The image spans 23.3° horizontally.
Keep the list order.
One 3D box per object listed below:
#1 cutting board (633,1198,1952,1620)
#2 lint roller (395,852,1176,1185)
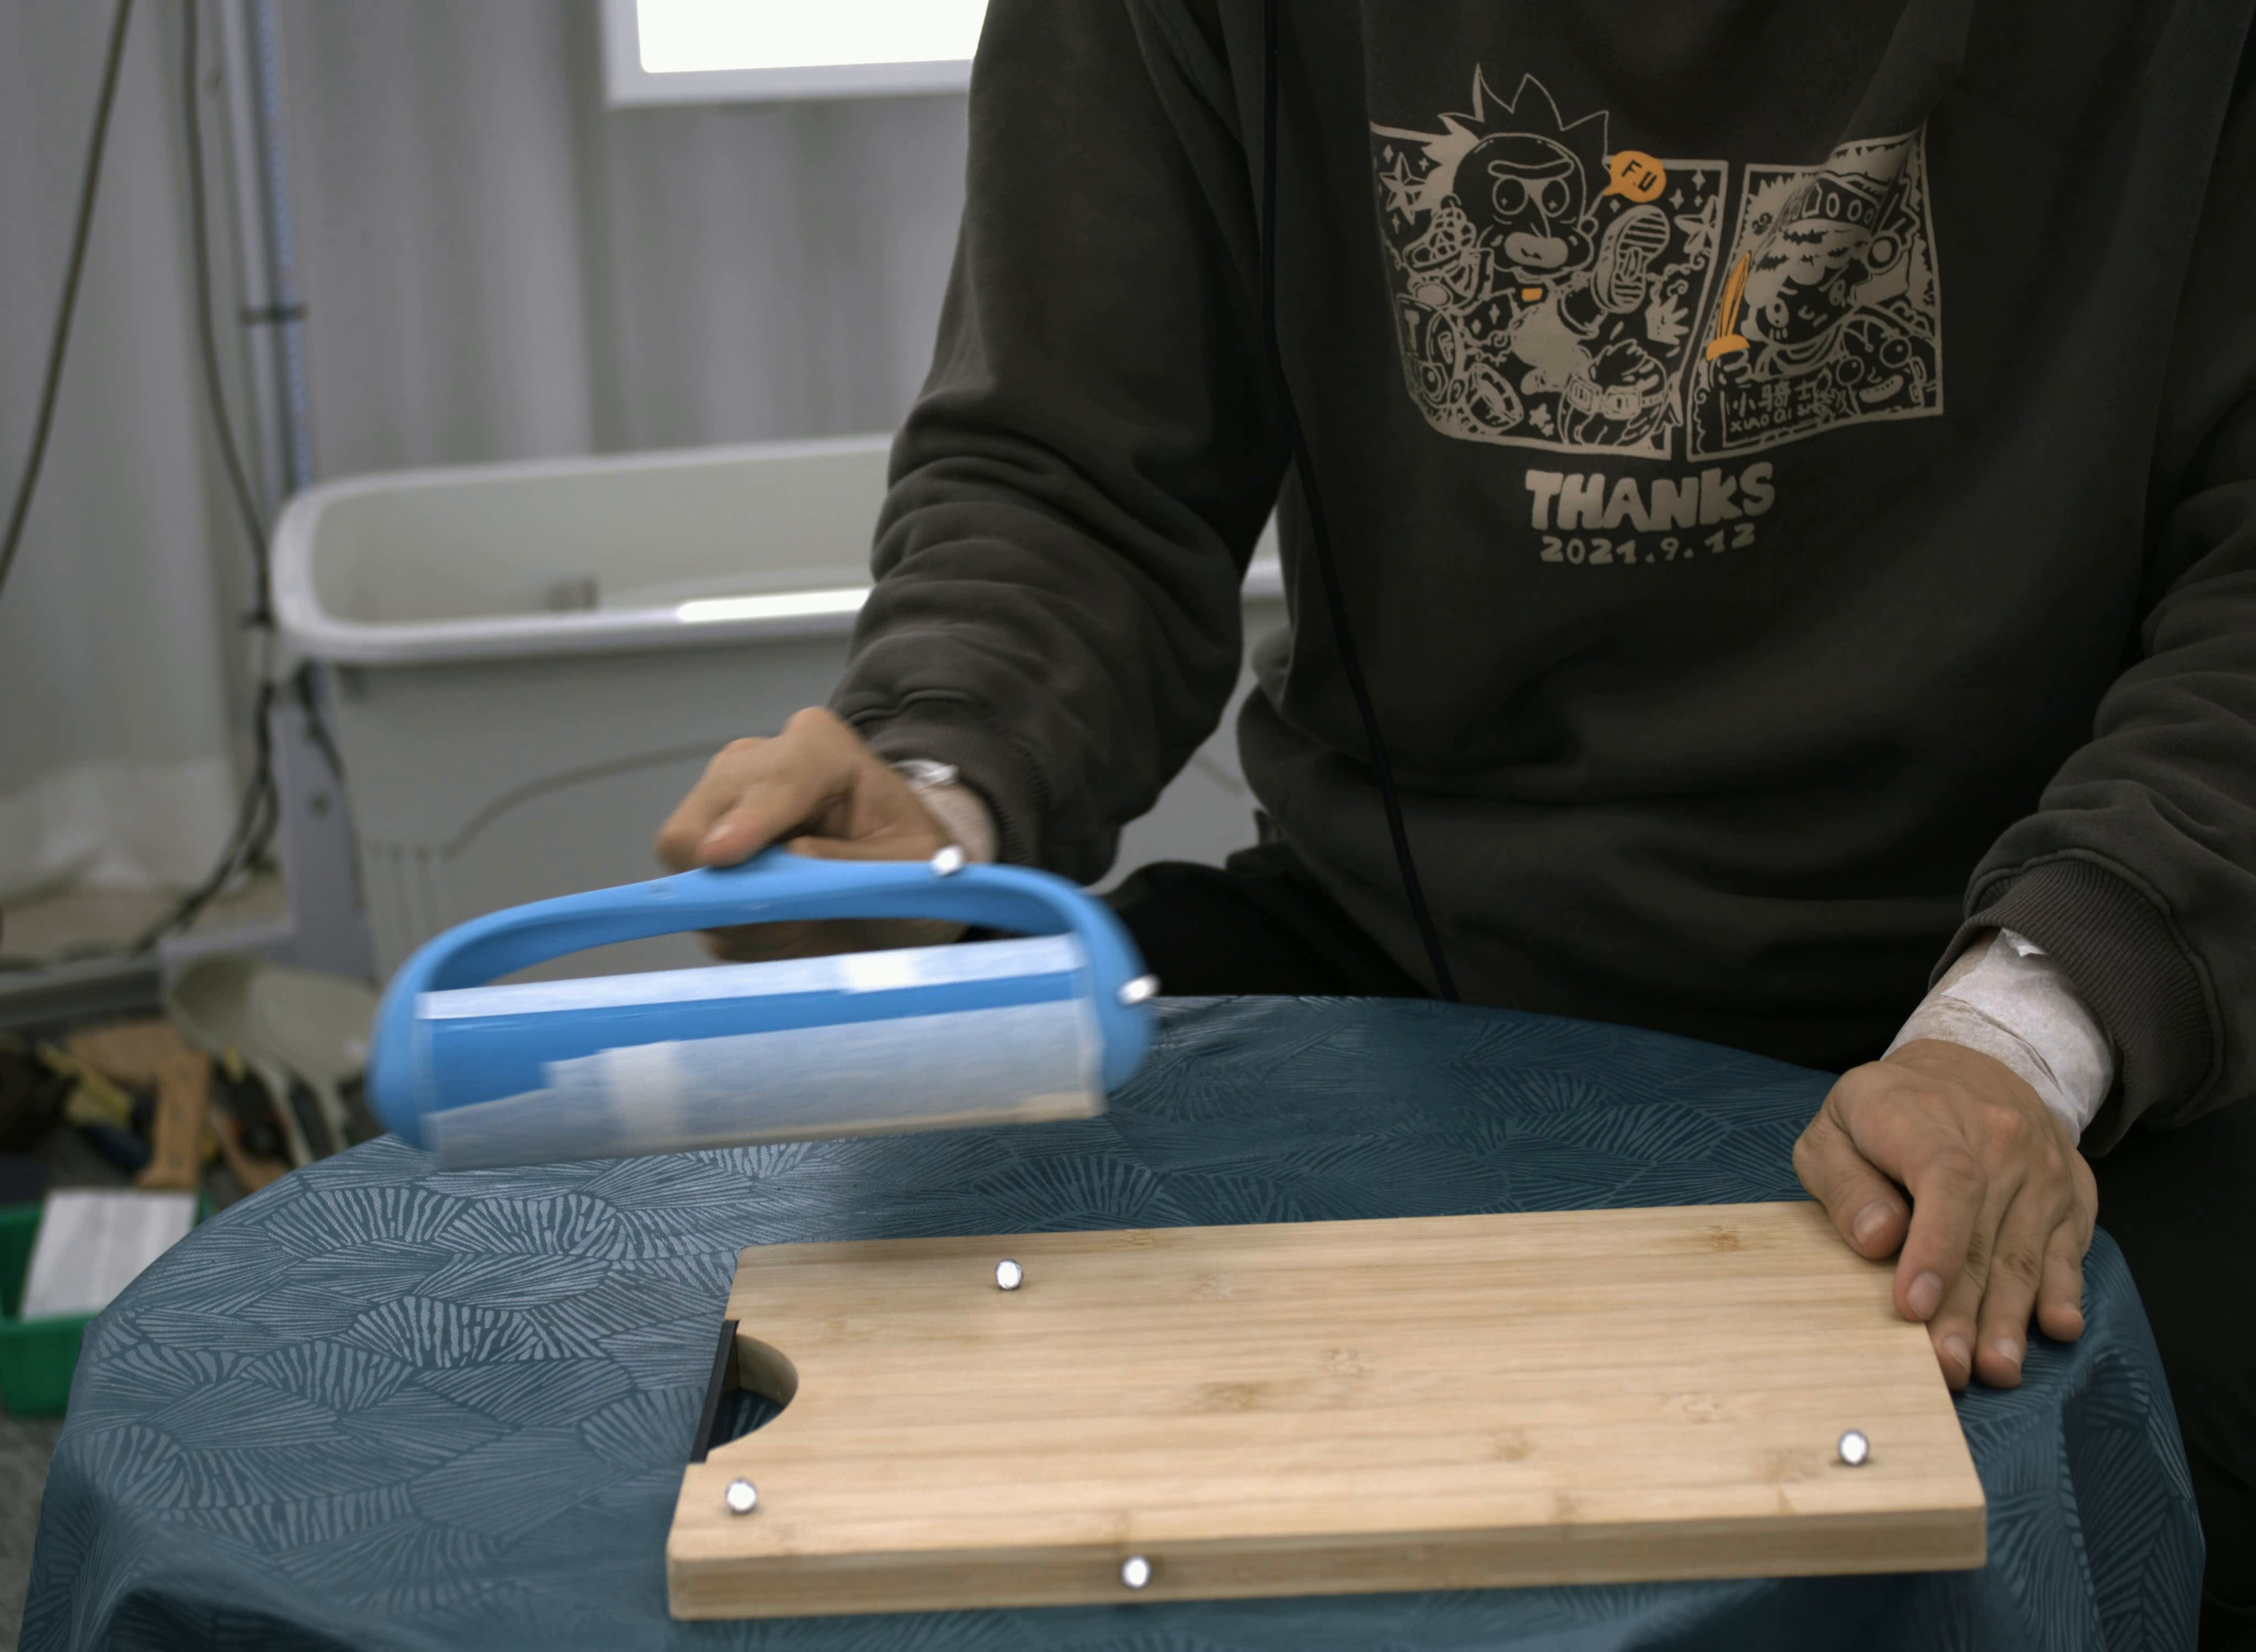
[{"bbox_3d":[0.046,0.159,1.517,0.347,0.023,0.252,-3,15,1],"label":"cutting board"},{"bbox_3d":[-0.107,0.041,1.651,0.228,0.067,0.182,-8,26,-4],"label":"lint roller"}]
